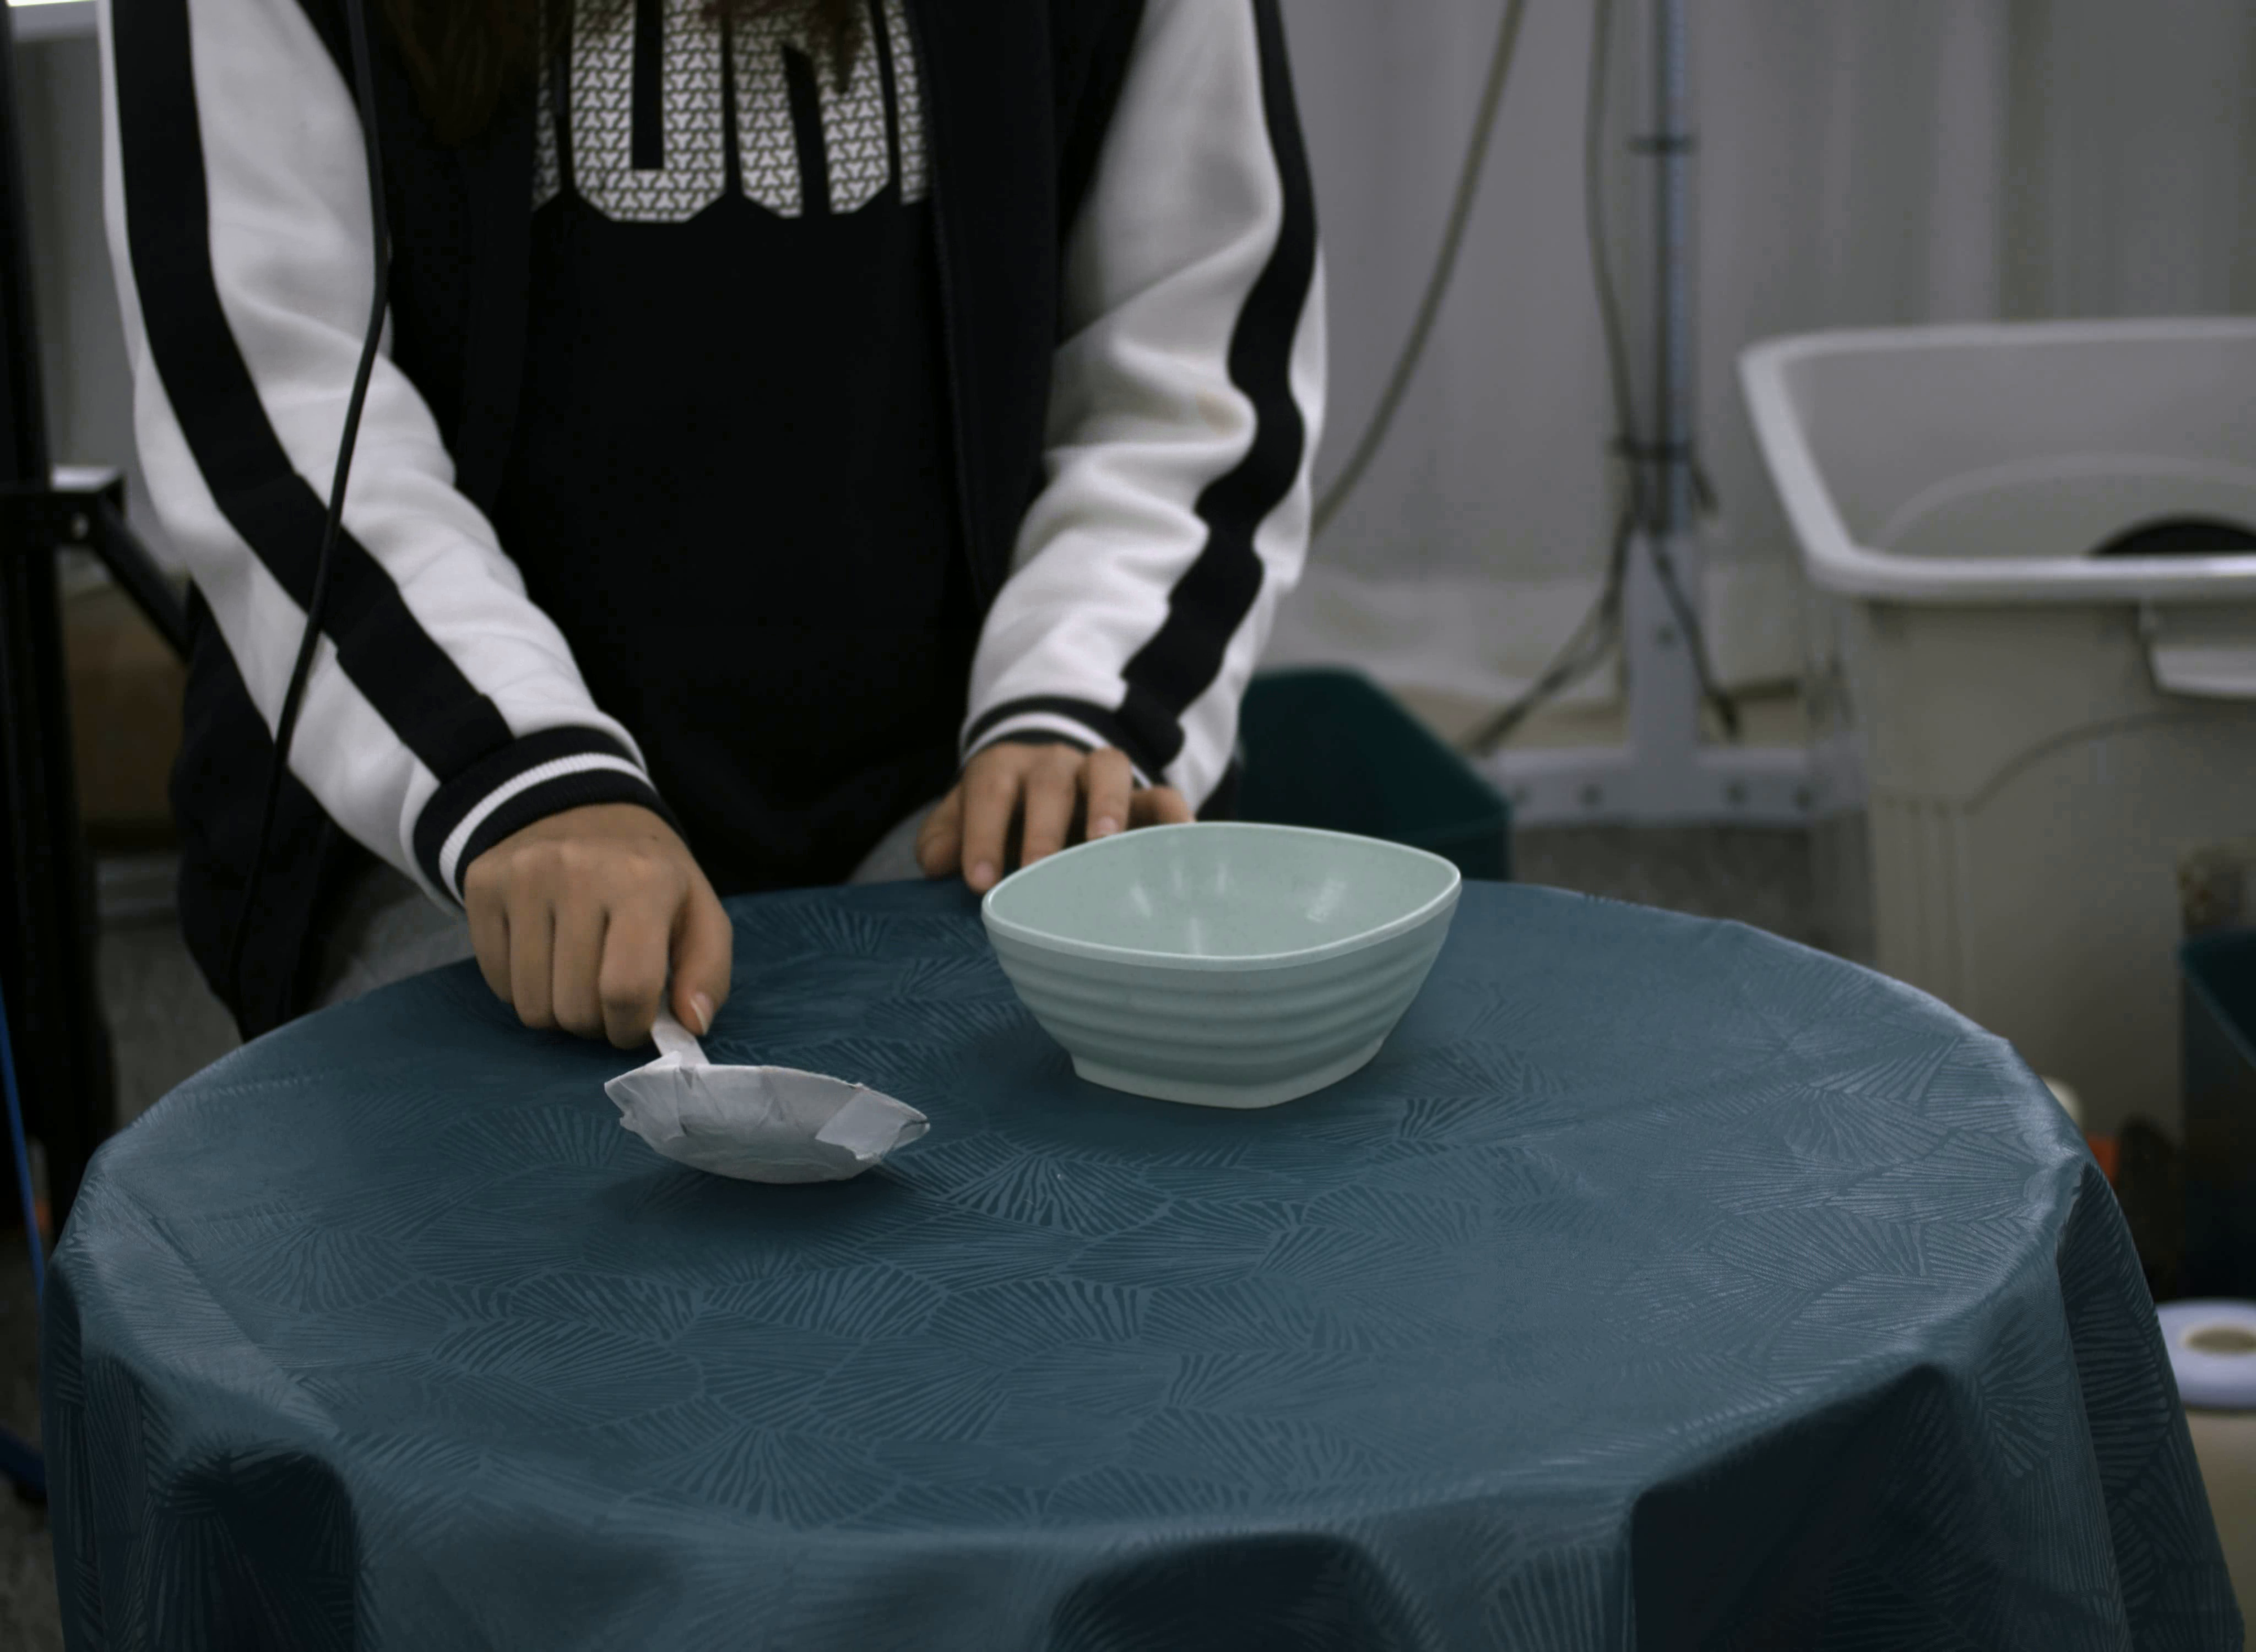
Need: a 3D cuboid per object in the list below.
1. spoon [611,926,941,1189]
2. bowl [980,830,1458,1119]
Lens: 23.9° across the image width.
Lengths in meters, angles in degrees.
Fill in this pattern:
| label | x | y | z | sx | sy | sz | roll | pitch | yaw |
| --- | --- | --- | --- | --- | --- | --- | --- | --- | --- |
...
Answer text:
| label | x | y | z | sx | sy | sz | roll | pitch | yaw |
| --- | --- | --- | --- | --- | --- | --- | --- | --- | --- |
| spoon | -0.120 | 0.055 | 1.654 | 0.099 | 0.059 | 0.280 | 16 | 14 | -15 |
| bowl | 0.029 | 0.049 | 1.665 | 0.150 | 0.058 | 0.152 | -2 | 15 | -1 |
